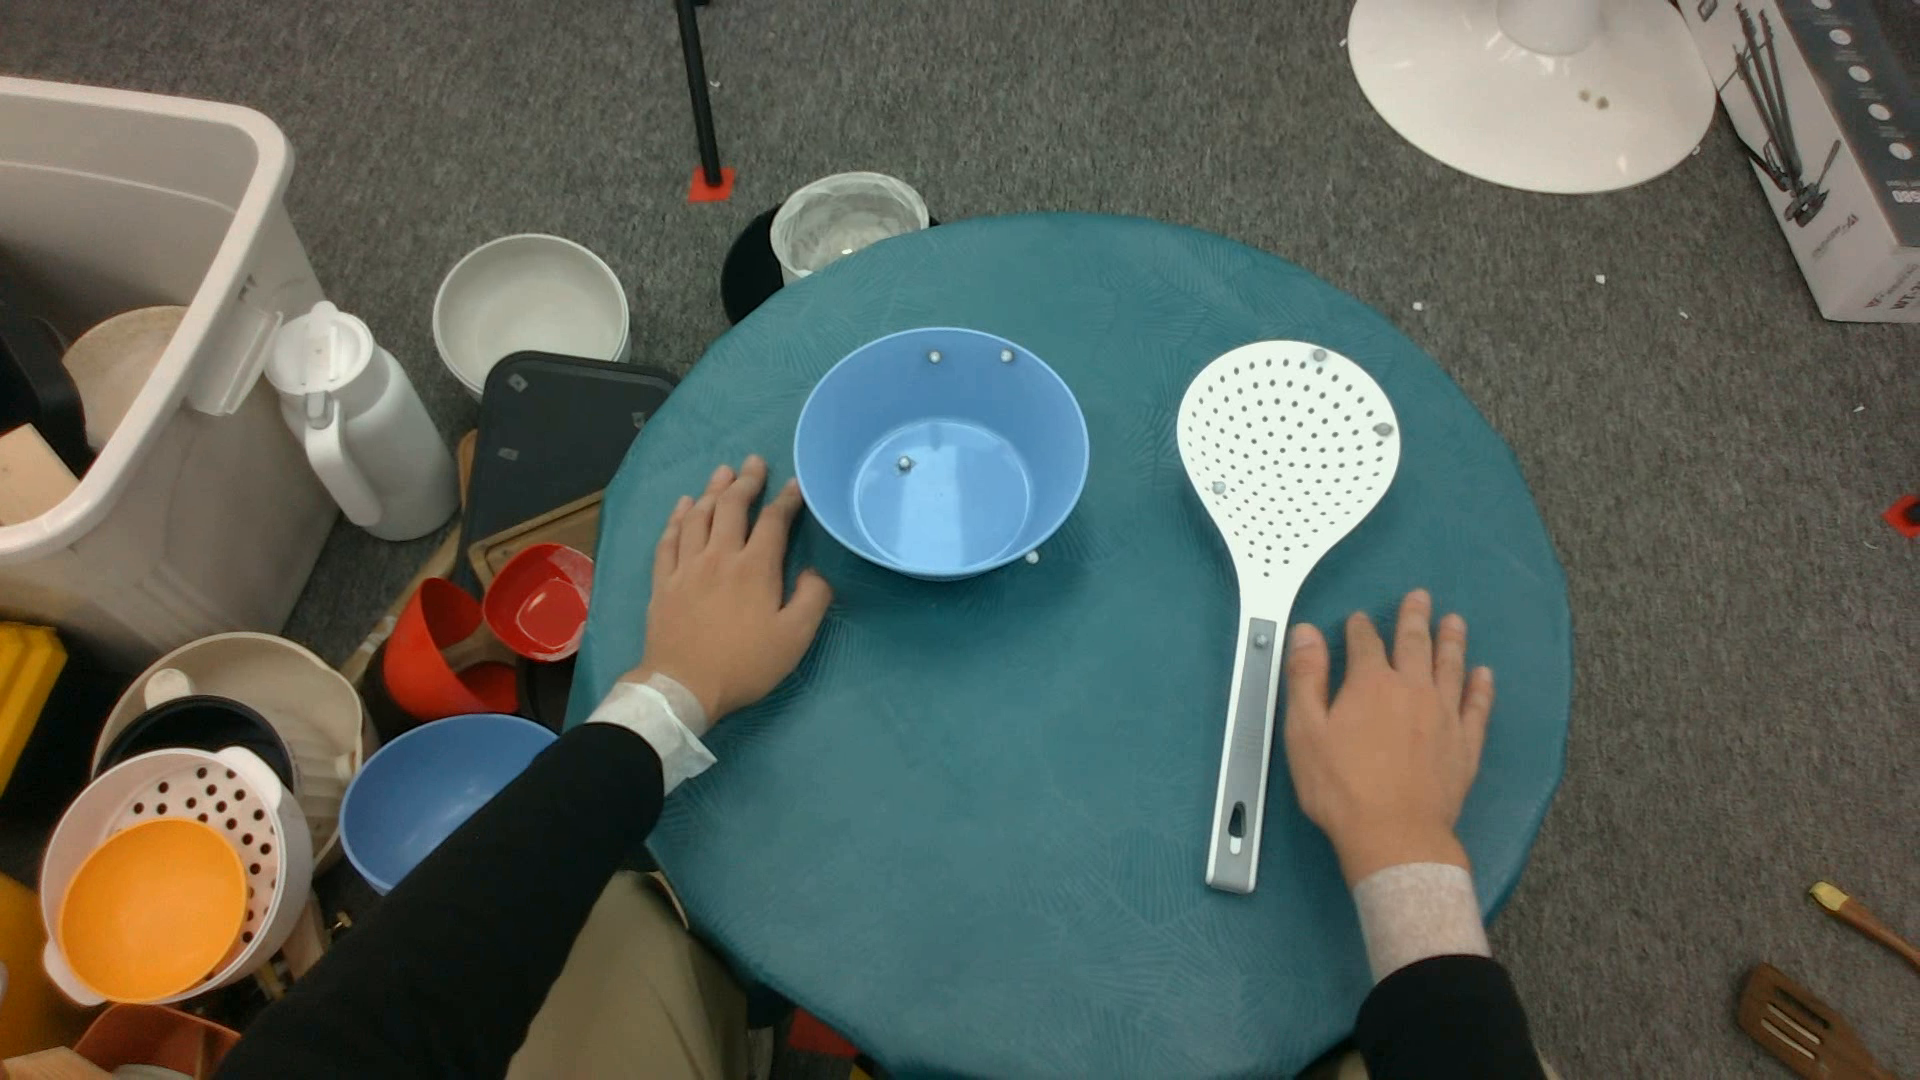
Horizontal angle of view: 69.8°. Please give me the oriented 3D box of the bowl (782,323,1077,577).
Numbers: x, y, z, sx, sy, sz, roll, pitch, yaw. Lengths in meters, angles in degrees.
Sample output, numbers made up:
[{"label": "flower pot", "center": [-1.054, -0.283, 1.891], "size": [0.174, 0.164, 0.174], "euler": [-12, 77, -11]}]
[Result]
[{"label": "bowl", "center": [-0.018, -0.044, 0.843], "size": [0.176, 0.070, 0.177], "euler": [0, 61, -1]}]

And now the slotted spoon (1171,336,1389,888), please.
[{"label": "slotted spoon", "center": [0.178, 0.031, 0.821], "size": [0.136, 0.045, 0.351], "euler": [10, 62, 4]}]
